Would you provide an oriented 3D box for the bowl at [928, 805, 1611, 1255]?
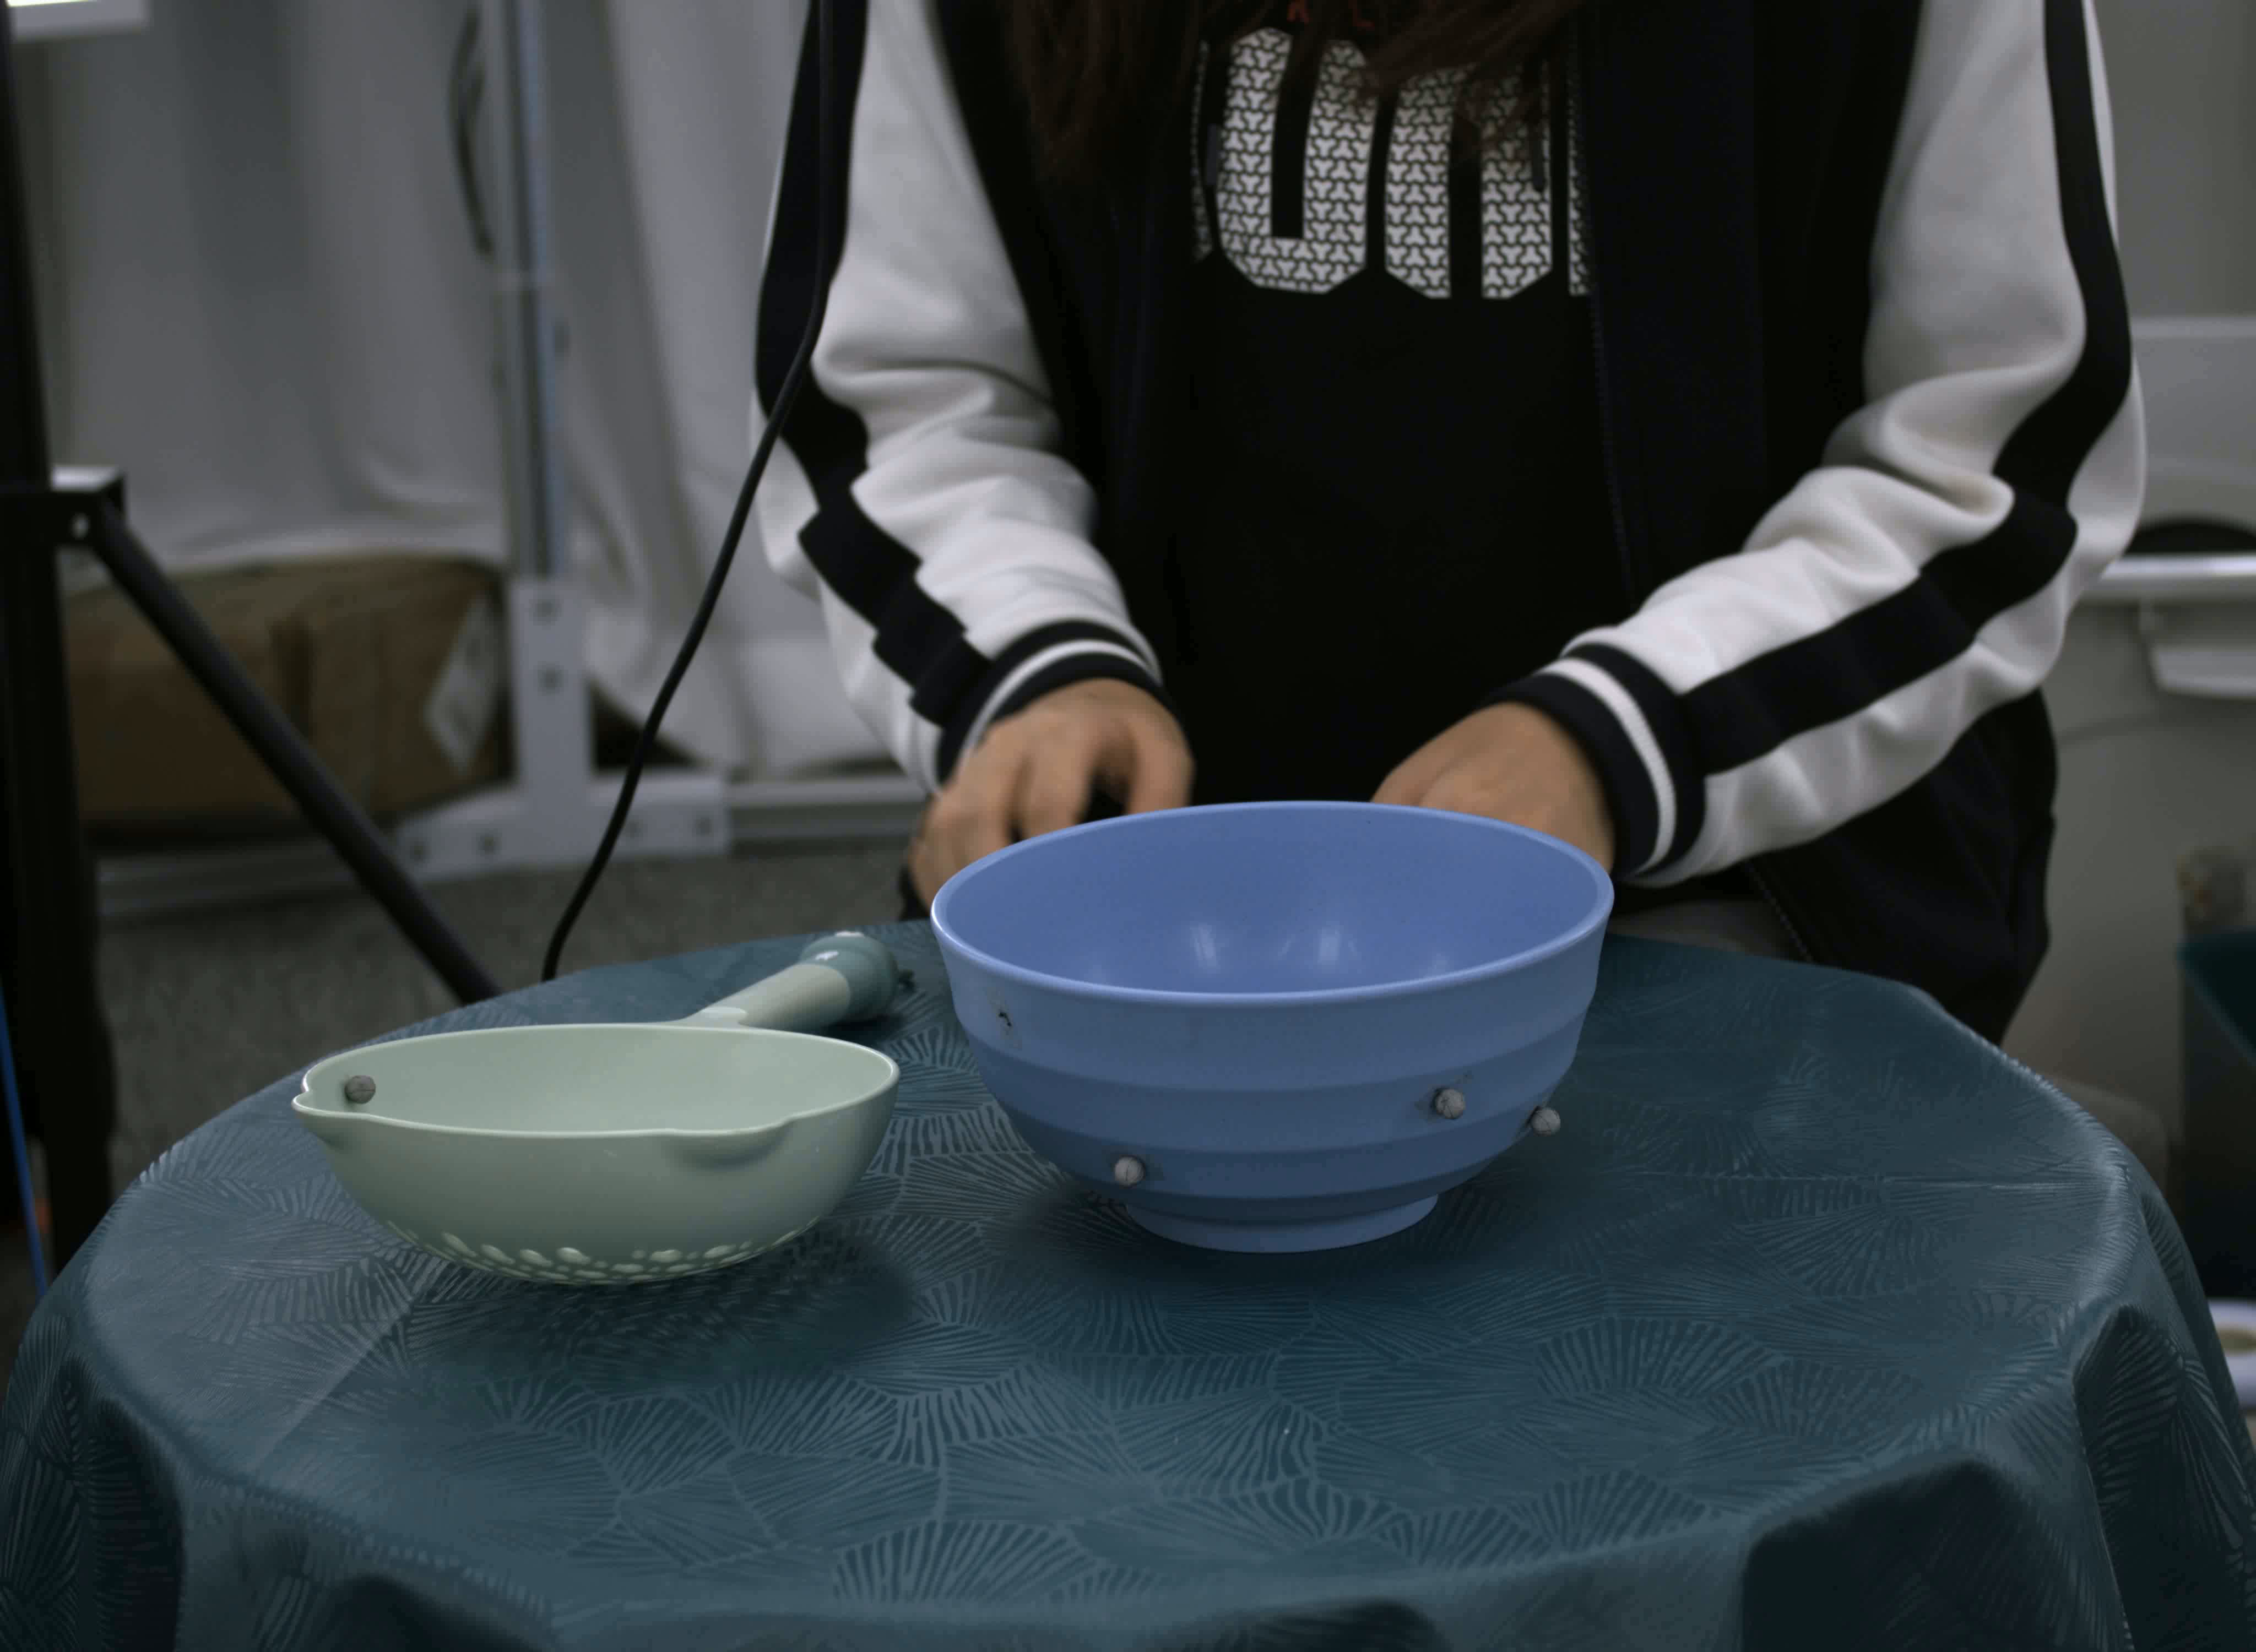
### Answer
[{"bbox_3d":[0.042,0.064,1.532,0.195,0.095,0.197,-3,15,-1],"label":"bowl"}]

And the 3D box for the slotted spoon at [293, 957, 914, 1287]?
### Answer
[{"bbox_3d":[-0.123,0.073,1.598,0.170,0.075,0.356,3,15,15],"label":"slotted spoon"}]
